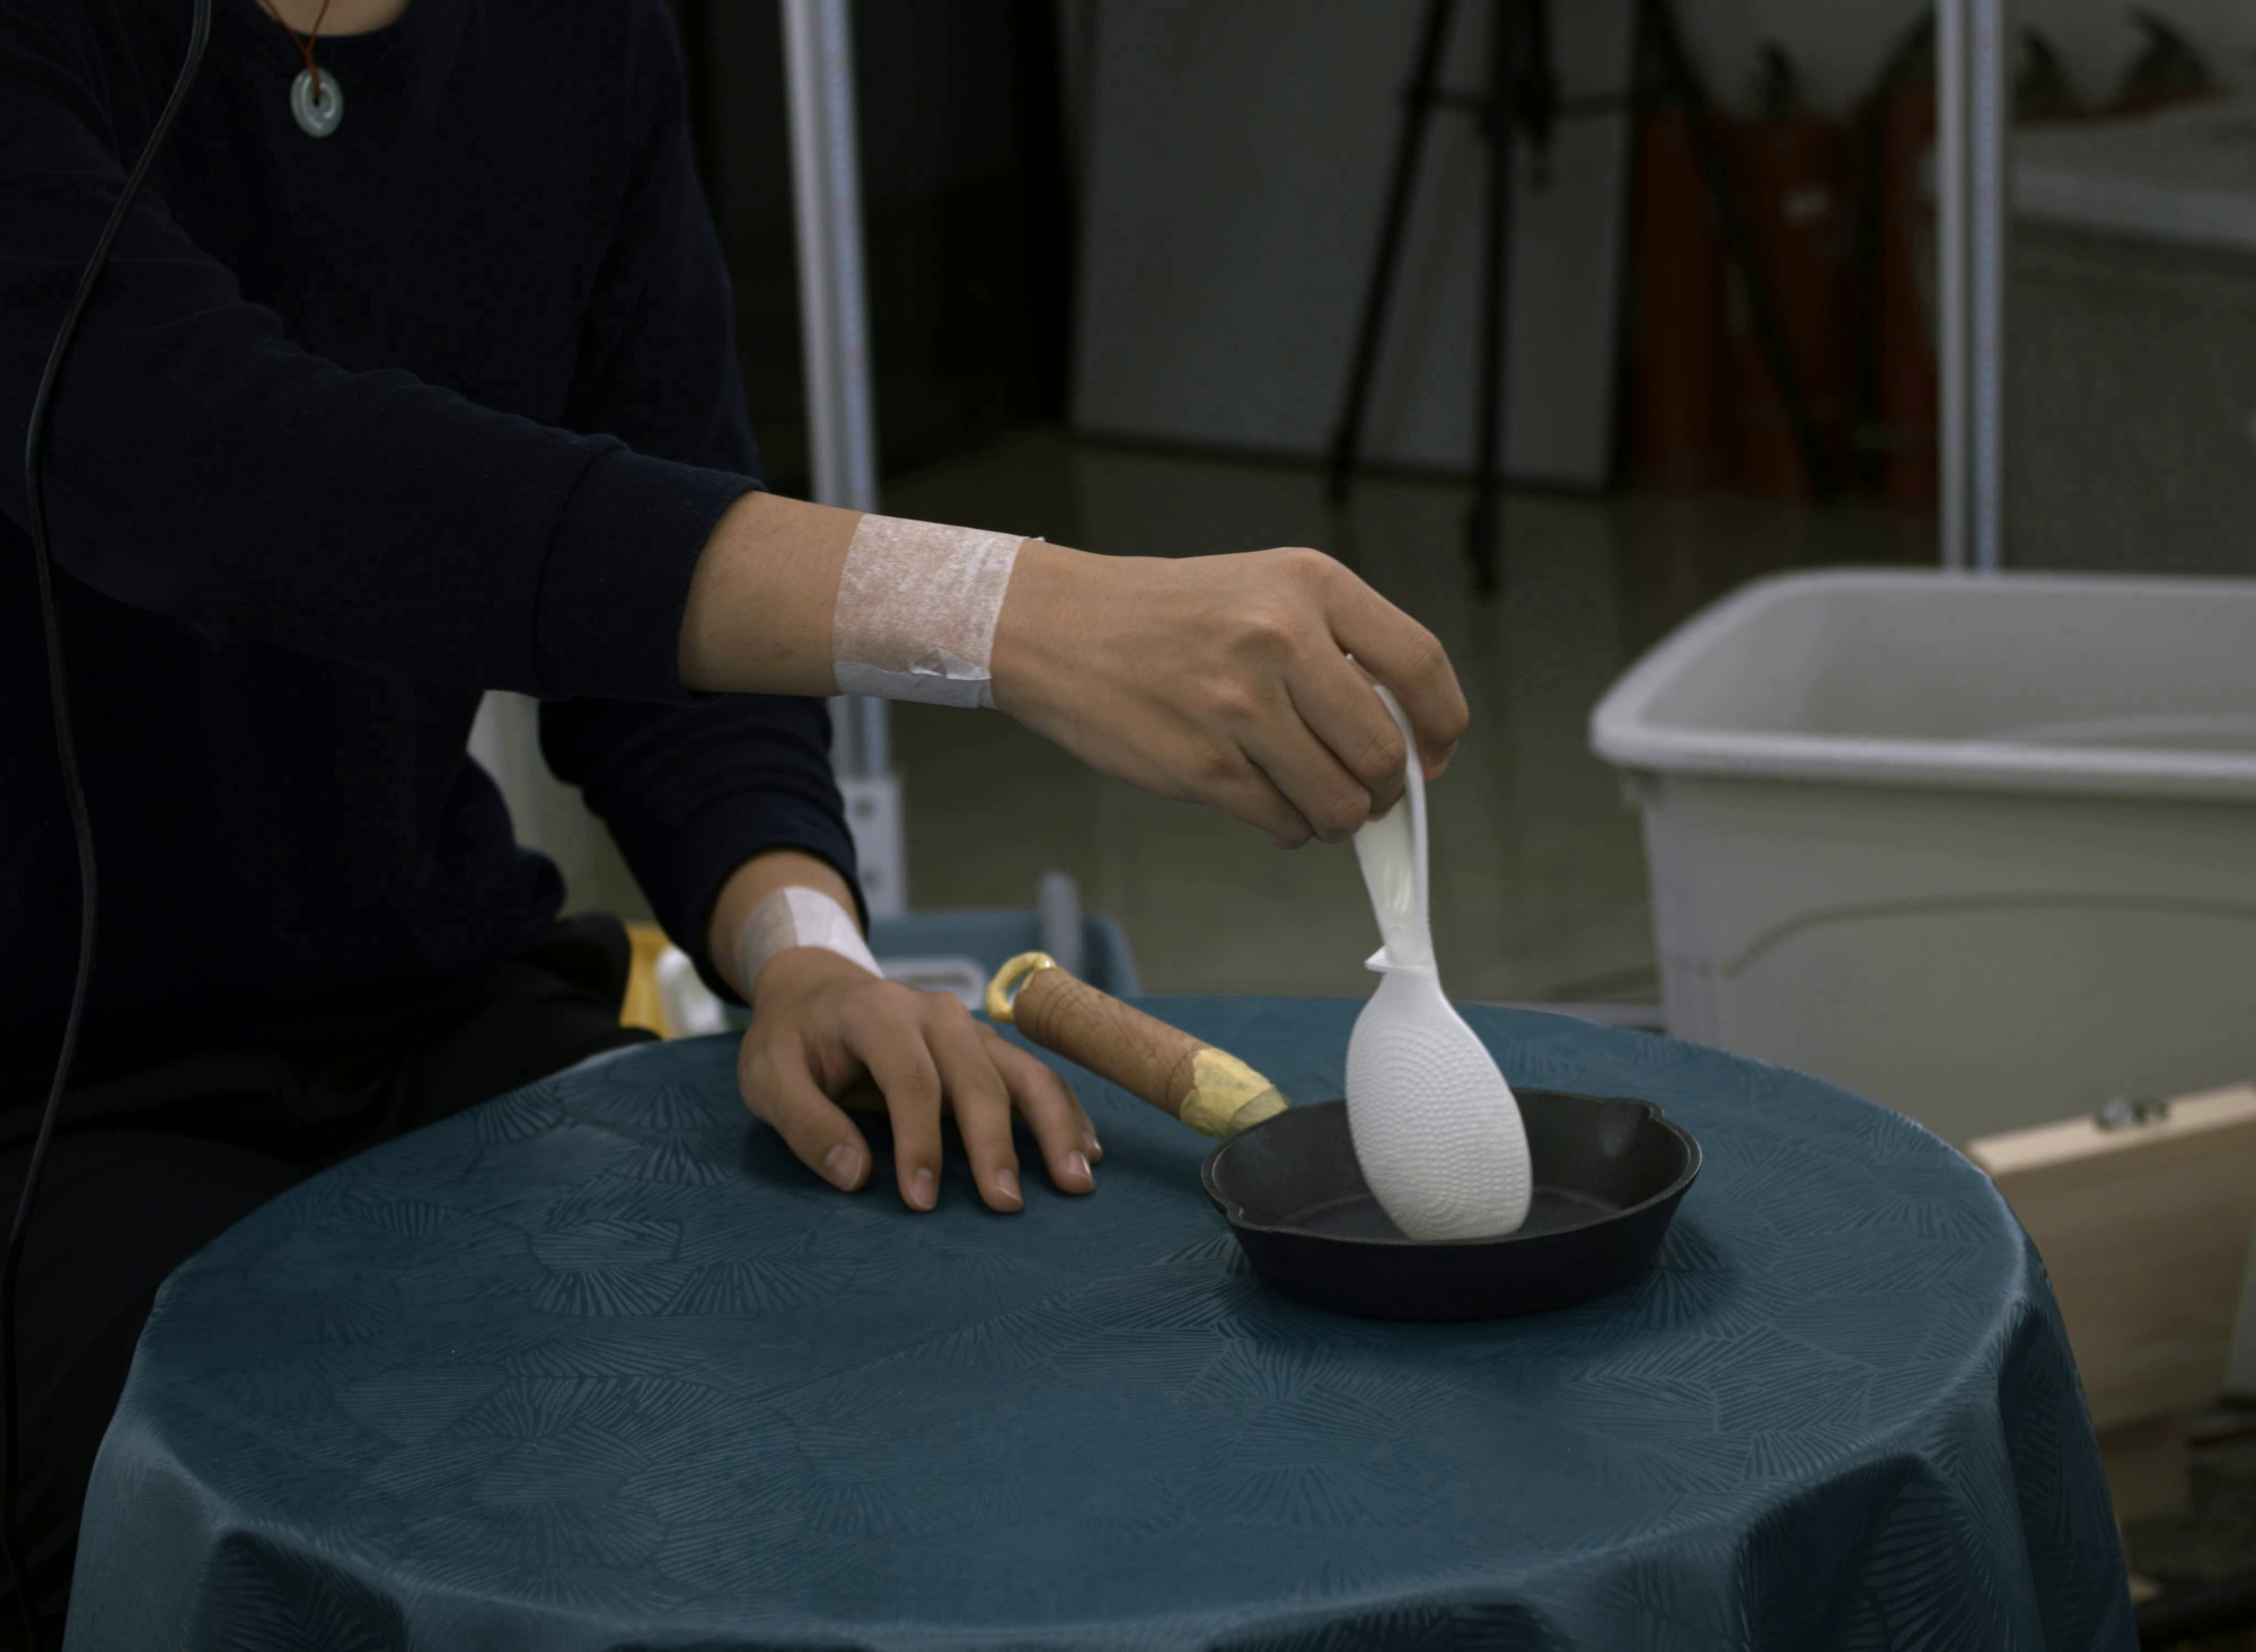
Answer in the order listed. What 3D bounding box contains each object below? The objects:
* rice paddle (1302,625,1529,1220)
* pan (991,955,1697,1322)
[{"bbox_3d":[0.085,0.039,1.633,0.069,0.206,0.029,9,30,40],"label":"rice paddle"},{"bbox_3d":[0.053,0.097,1.747,0.165,0.050,0.328,-13,17,-32],"label":"pan"}]
